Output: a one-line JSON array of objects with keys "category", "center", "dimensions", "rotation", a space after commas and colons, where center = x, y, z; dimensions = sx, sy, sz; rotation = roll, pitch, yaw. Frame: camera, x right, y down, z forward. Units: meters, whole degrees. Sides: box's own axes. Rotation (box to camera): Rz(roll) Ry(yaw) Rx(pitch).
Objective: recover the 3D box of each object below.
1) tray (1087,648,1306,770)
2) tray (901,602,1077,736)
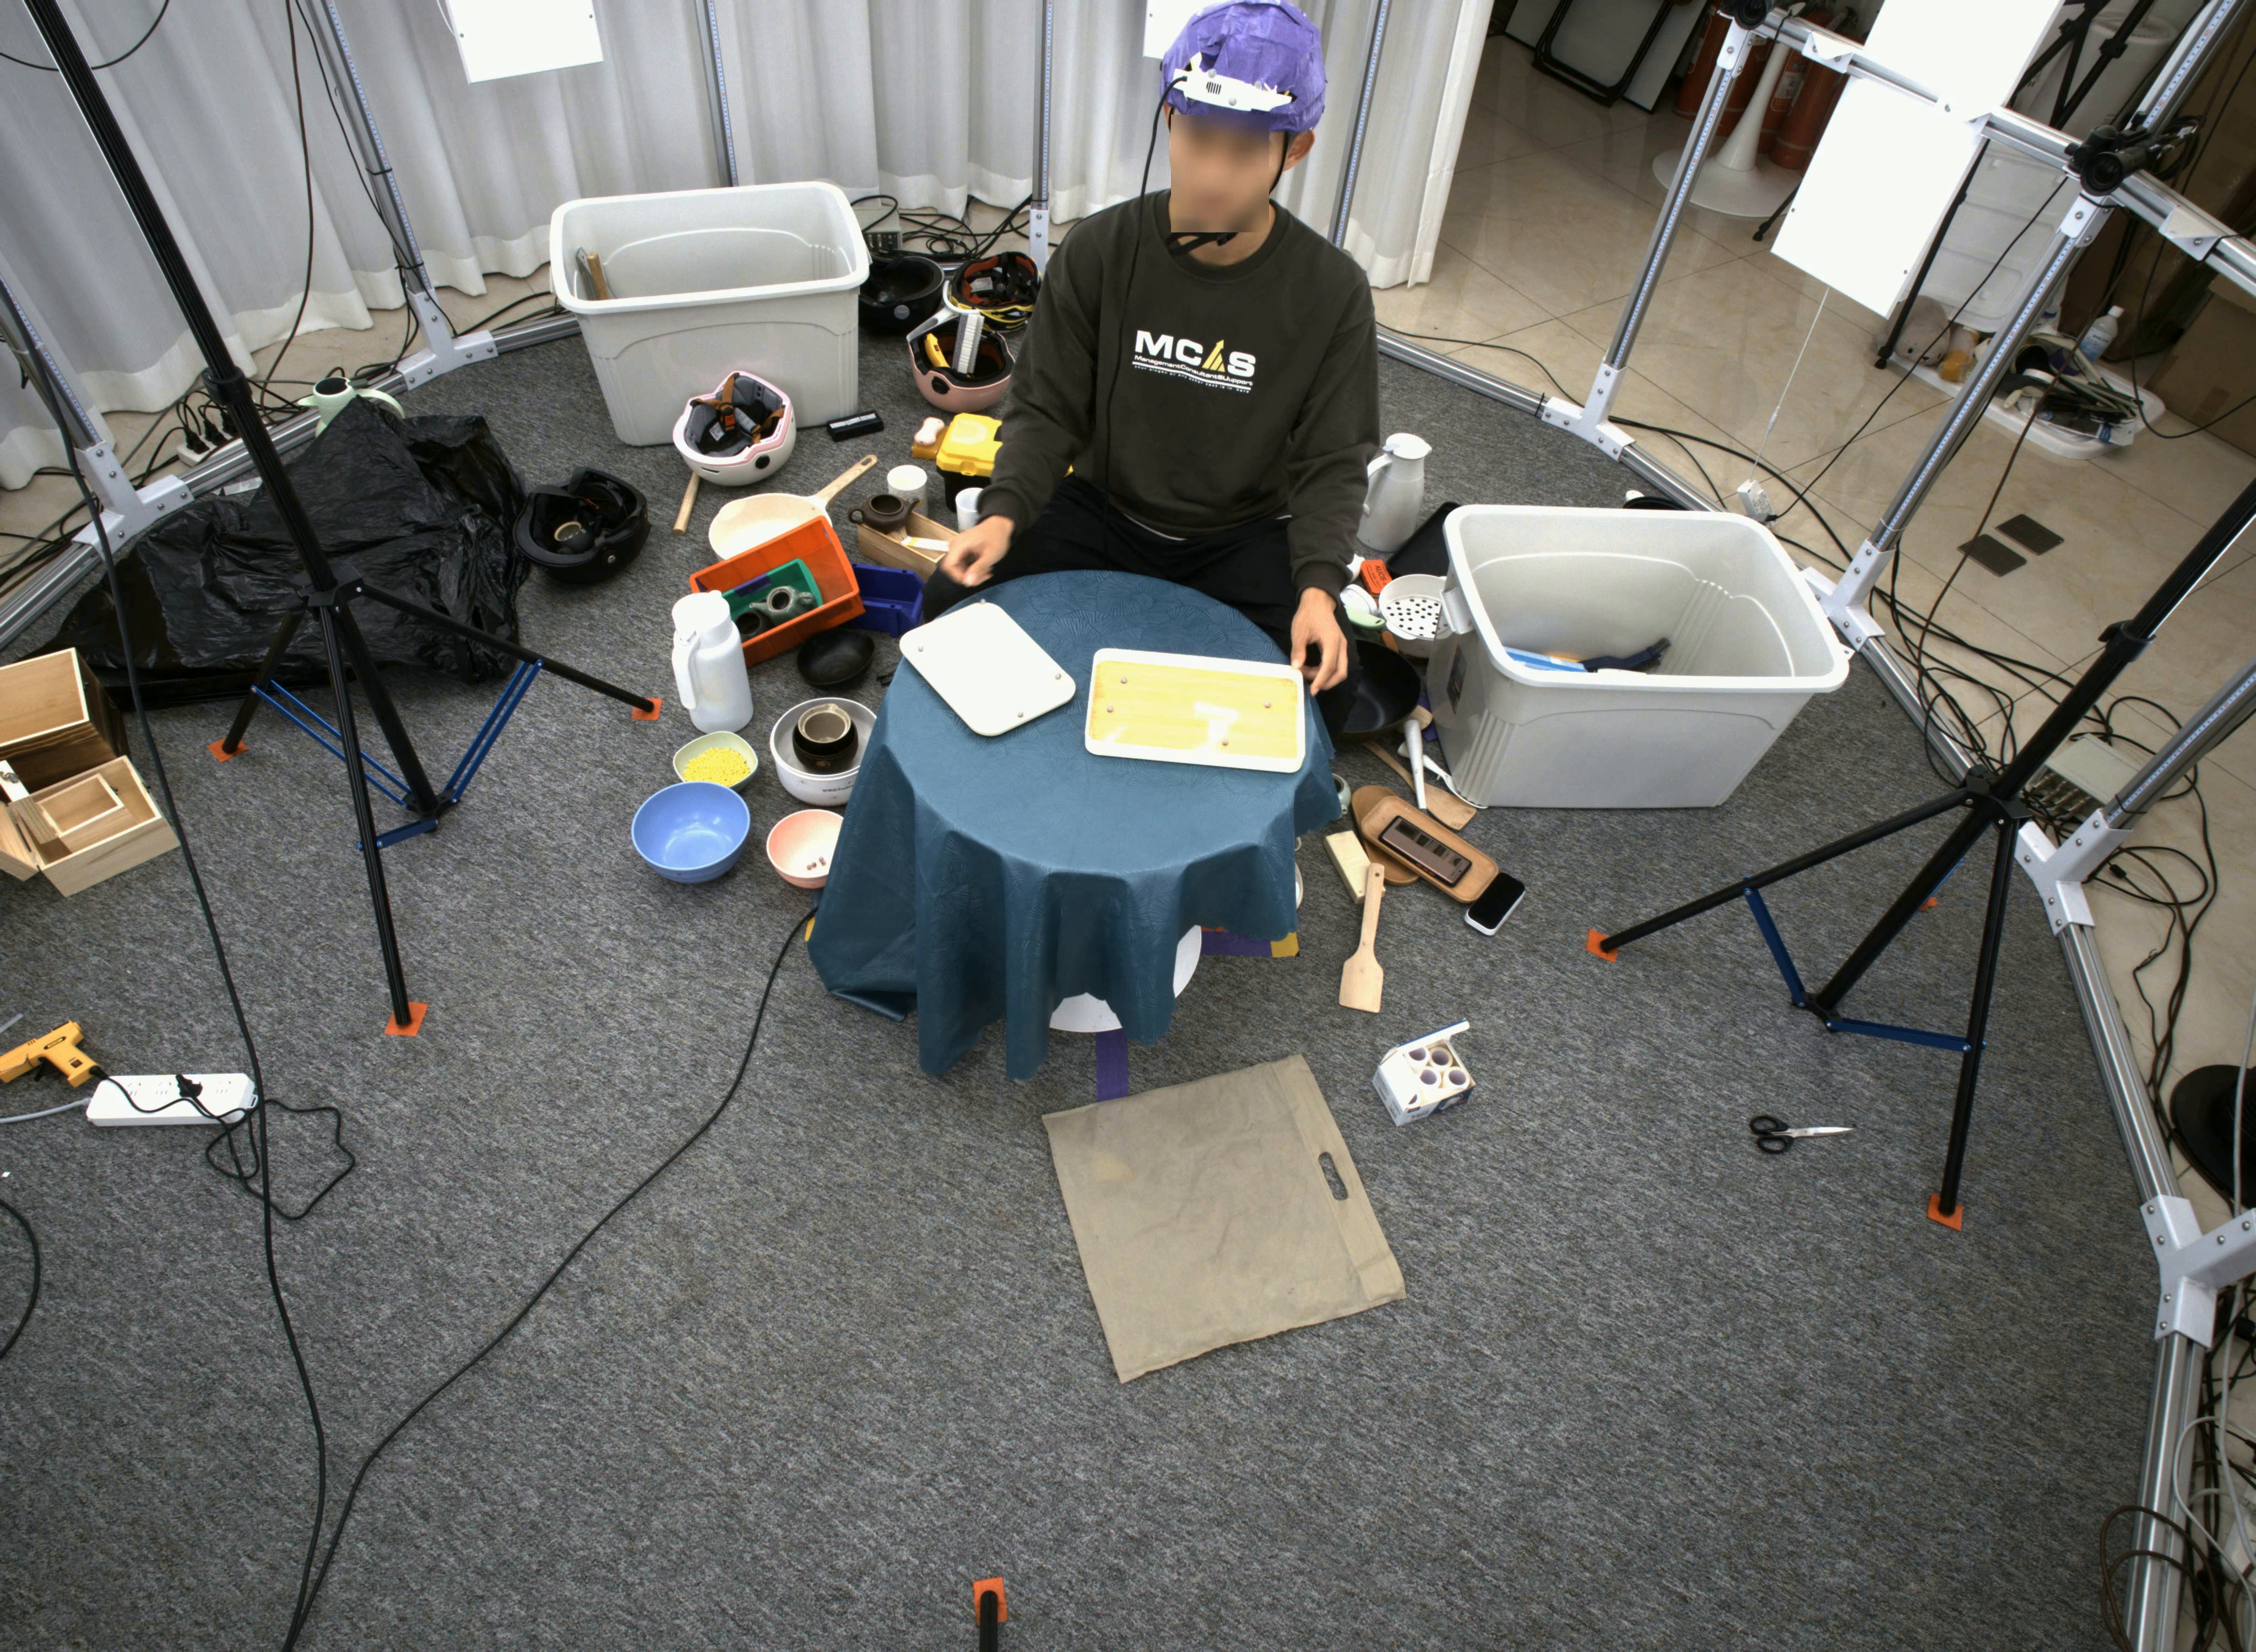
[{"category": "tray", "center": [0.097, -0.166, 1.799], "dimensions": [0.300, 0.027, 0.196], "rotation": [5, 48, 0]}, {"category": "tray", "center": [-0.199, -0.226, 1.835], "dimensions": [0.172, 0.017, 0.244], "rotation": [-28, 56, -25]}]
